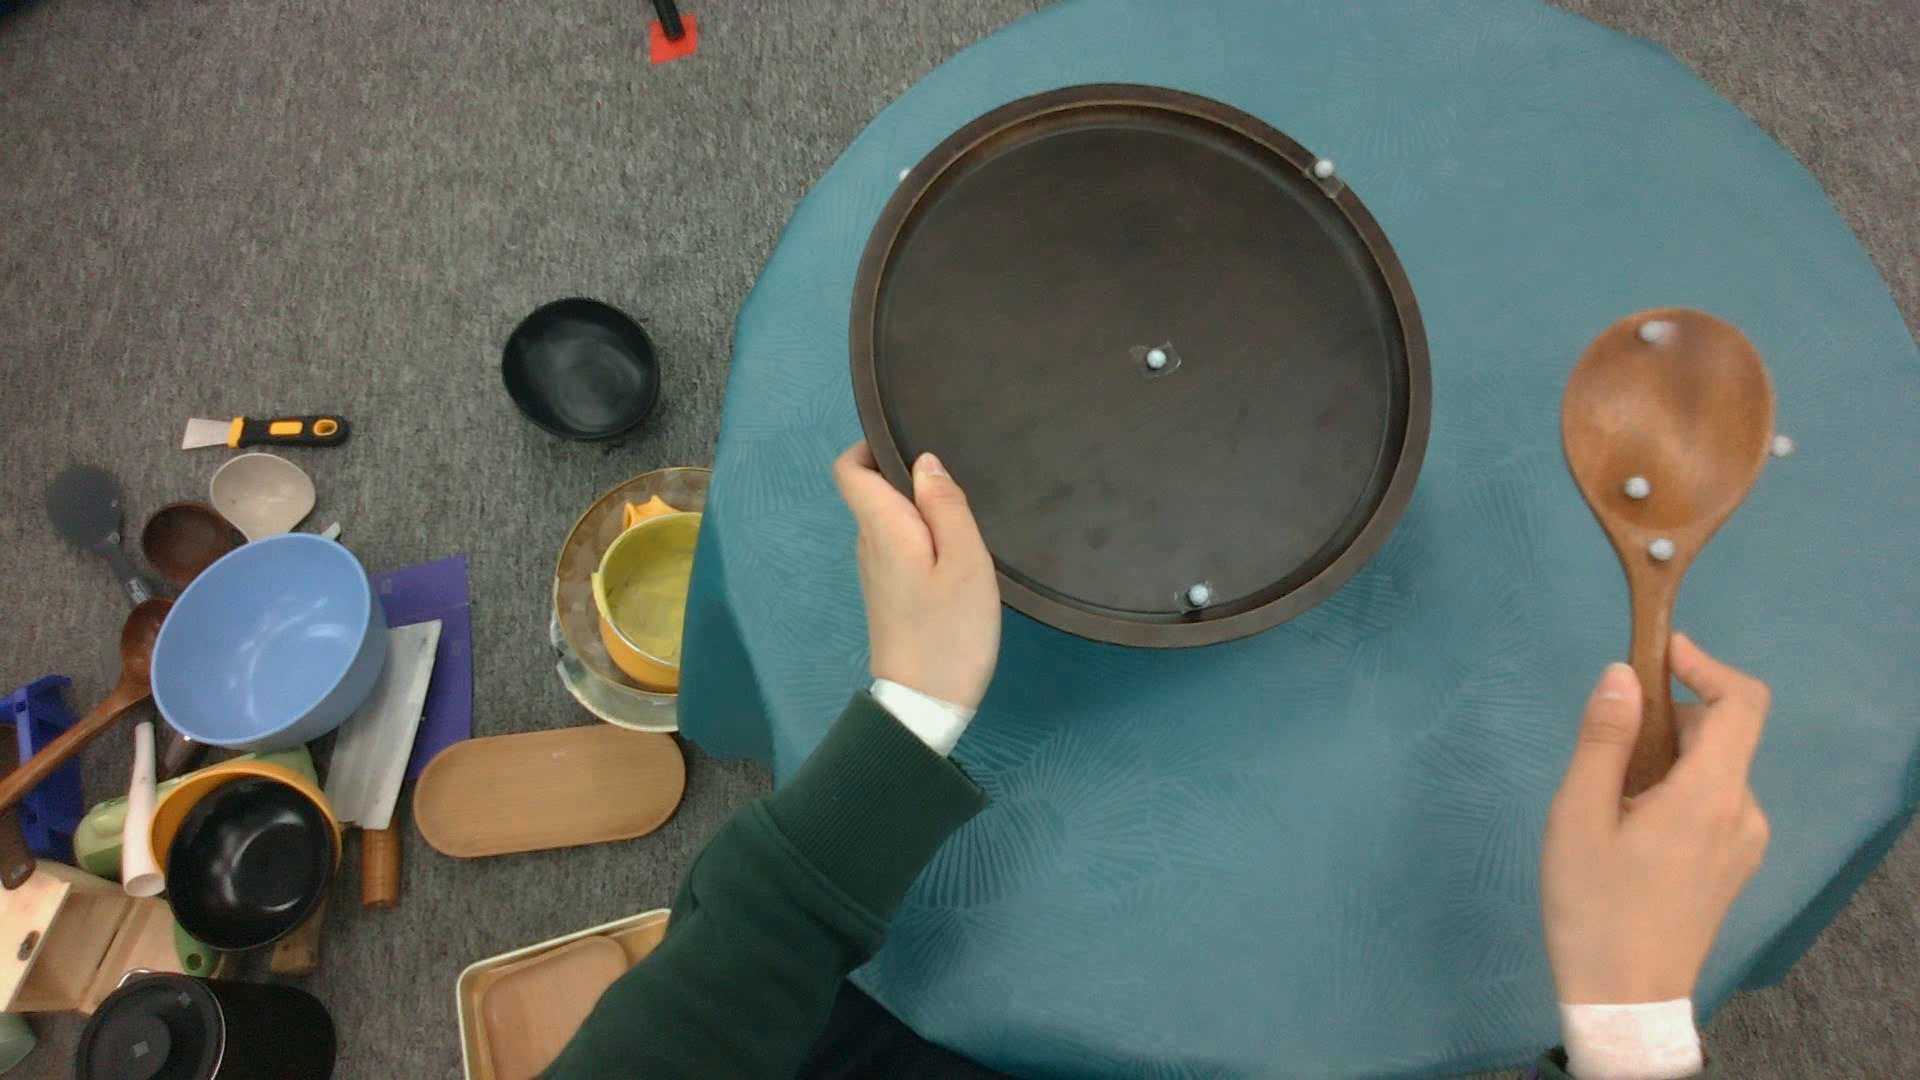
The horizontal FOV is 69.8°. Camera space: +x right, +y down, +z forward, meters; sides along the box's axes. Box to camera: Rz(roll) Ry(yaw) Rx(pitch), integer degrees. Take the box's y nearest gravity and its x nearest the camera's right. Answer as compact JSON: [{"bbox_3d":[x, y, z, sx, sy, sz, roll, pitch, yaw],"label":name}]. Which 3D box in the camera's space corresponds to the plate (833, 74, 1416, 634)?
[{"bbox_3d":[0.072,-0.083,0.590,0.255,0.029,0.255,3,74,-9],"label":"plate"}]

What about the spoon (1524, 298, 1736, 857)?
[{"bbox_3d":[0.250,0.009,0.518,0.075,0.017,0.216,4,74,15],"label":"spoon"}]
